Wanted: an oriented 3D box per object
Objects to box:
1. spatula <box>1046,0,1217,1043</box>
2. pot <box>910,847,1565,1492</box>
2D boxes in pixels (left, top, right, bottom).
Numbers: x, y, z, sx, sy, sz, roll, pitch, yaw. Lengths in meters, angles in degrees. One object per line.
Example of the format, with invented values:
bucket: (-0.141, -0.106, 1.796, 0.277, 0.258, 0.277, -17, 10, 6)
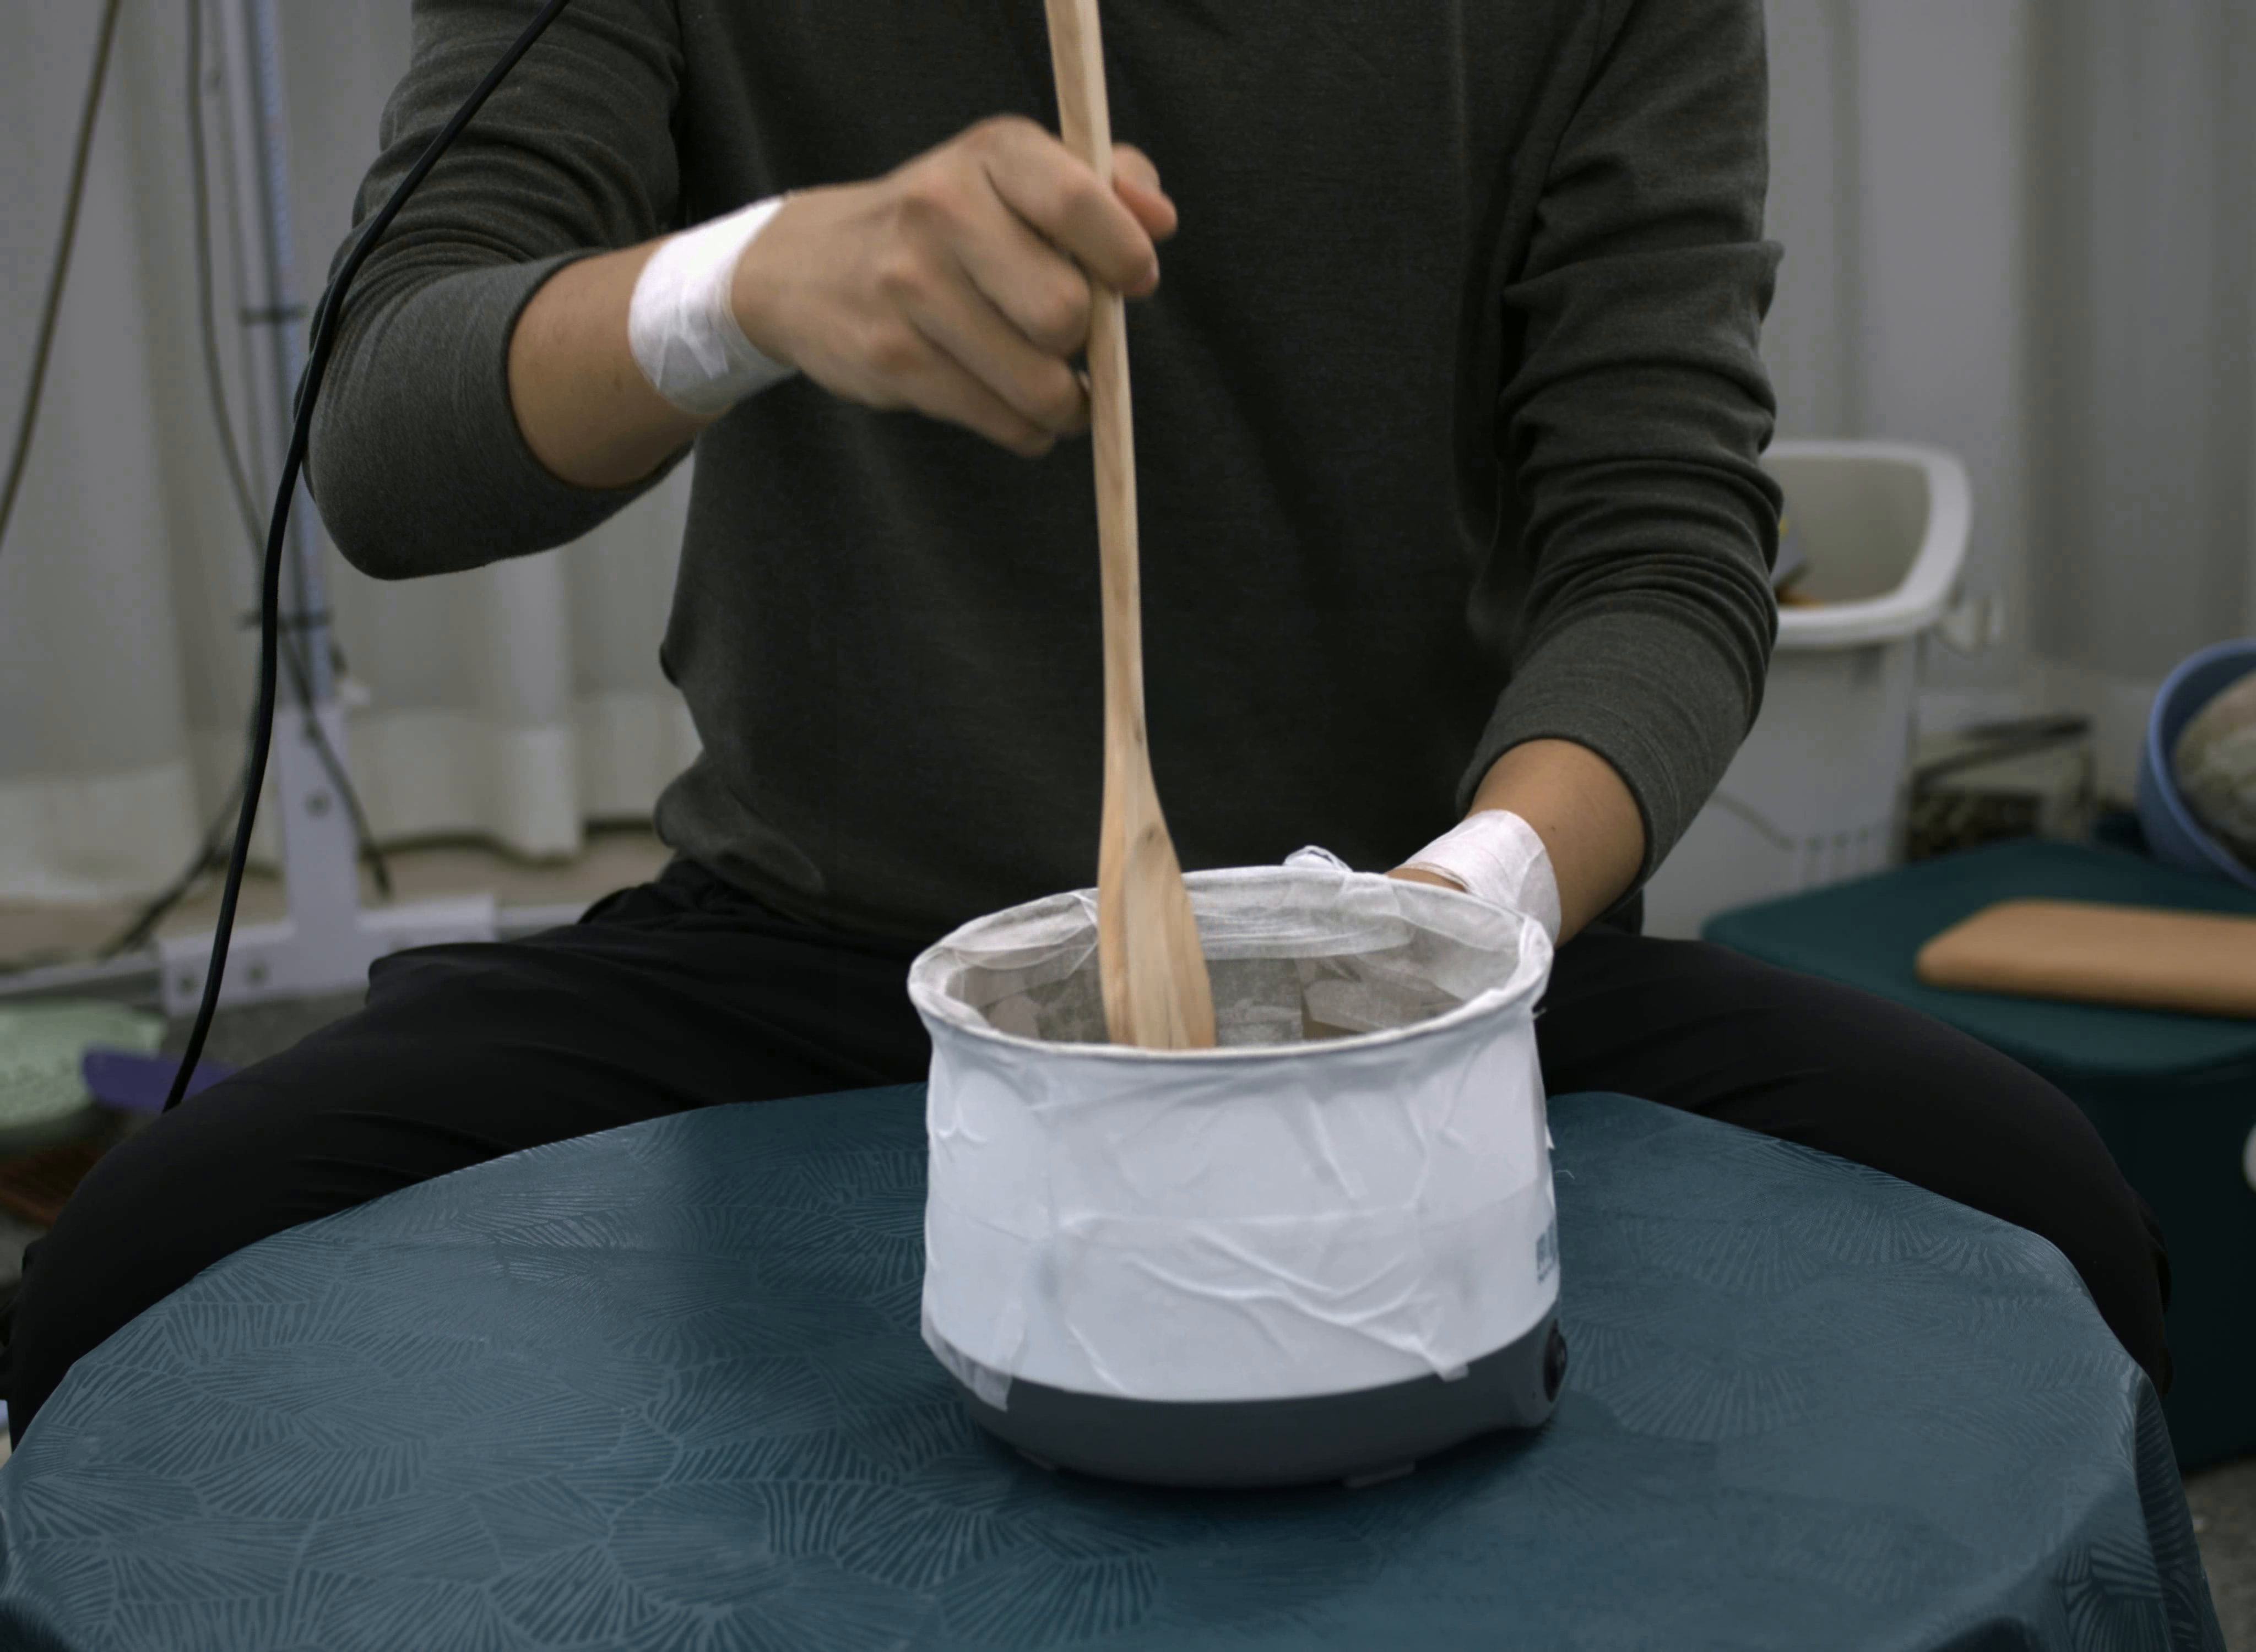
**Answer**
spatula: (-0.005, -0.102, 1.475, 0.018, 0.390, 0.096, -3, 9, 11)
pot: (0.038, 0.091, 1.538, 0.178, 0.136, 0.234, 1, 15, 14)
